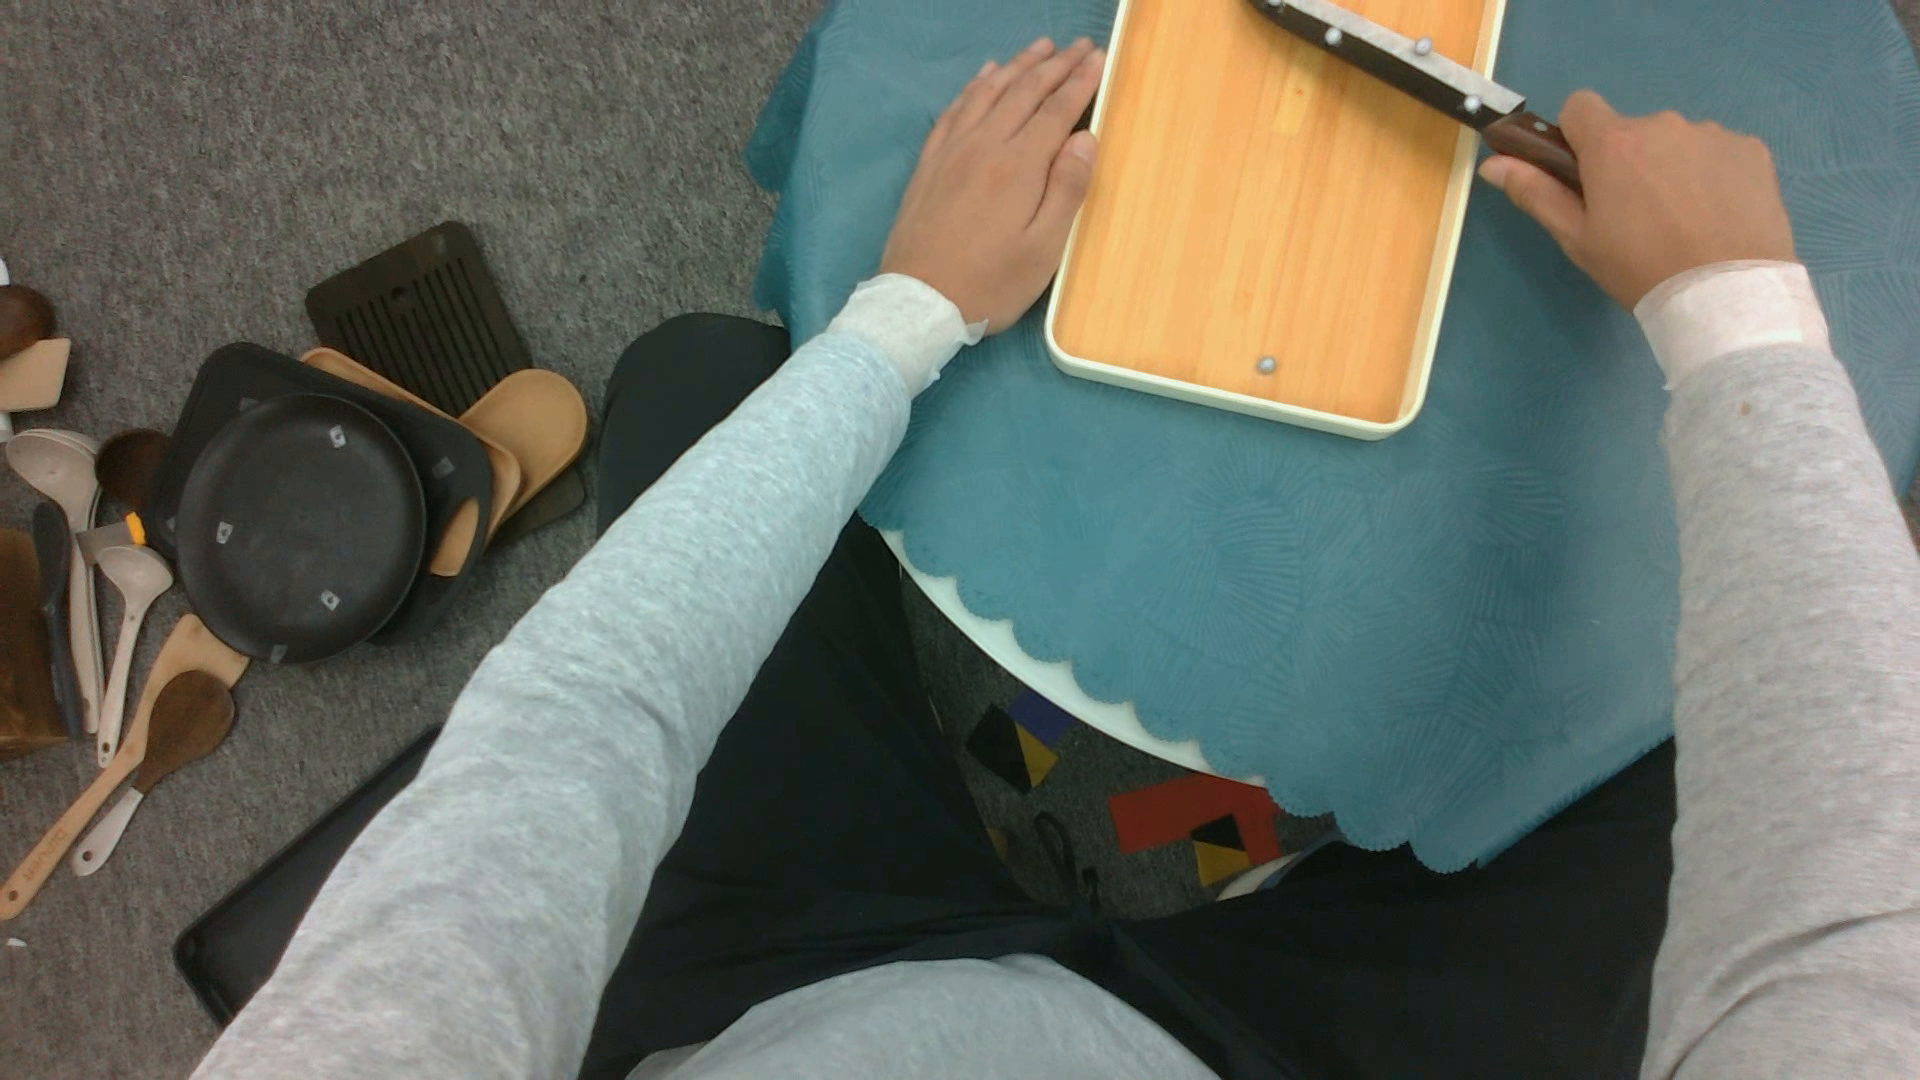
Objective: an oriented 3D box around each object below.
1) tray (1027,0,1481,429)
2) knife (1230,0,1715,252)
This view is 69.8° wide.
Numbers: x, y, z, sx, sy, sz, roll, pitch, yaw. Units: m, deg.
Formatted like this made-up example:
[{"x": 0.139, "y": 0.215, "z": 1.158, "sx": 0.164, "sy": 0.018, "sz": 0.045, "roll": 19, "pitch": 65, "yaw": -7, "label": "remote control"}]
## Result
[{"x": 0.157, "y": -0.219, "z": 0.713, "sx": 0.191, "sy": 0.027, "sz": 0.300, "roll": 13, "pitch": 82, "yaw": 4, "label": "tray"}, {"x": 0.240, "y": -0.223, "z": 0.685, "sx": 0.289, "sy": 0.020, "sz": 0.050, "roll": 37, "pitch": 54, "yaw": 19, "label": "knife"}]
